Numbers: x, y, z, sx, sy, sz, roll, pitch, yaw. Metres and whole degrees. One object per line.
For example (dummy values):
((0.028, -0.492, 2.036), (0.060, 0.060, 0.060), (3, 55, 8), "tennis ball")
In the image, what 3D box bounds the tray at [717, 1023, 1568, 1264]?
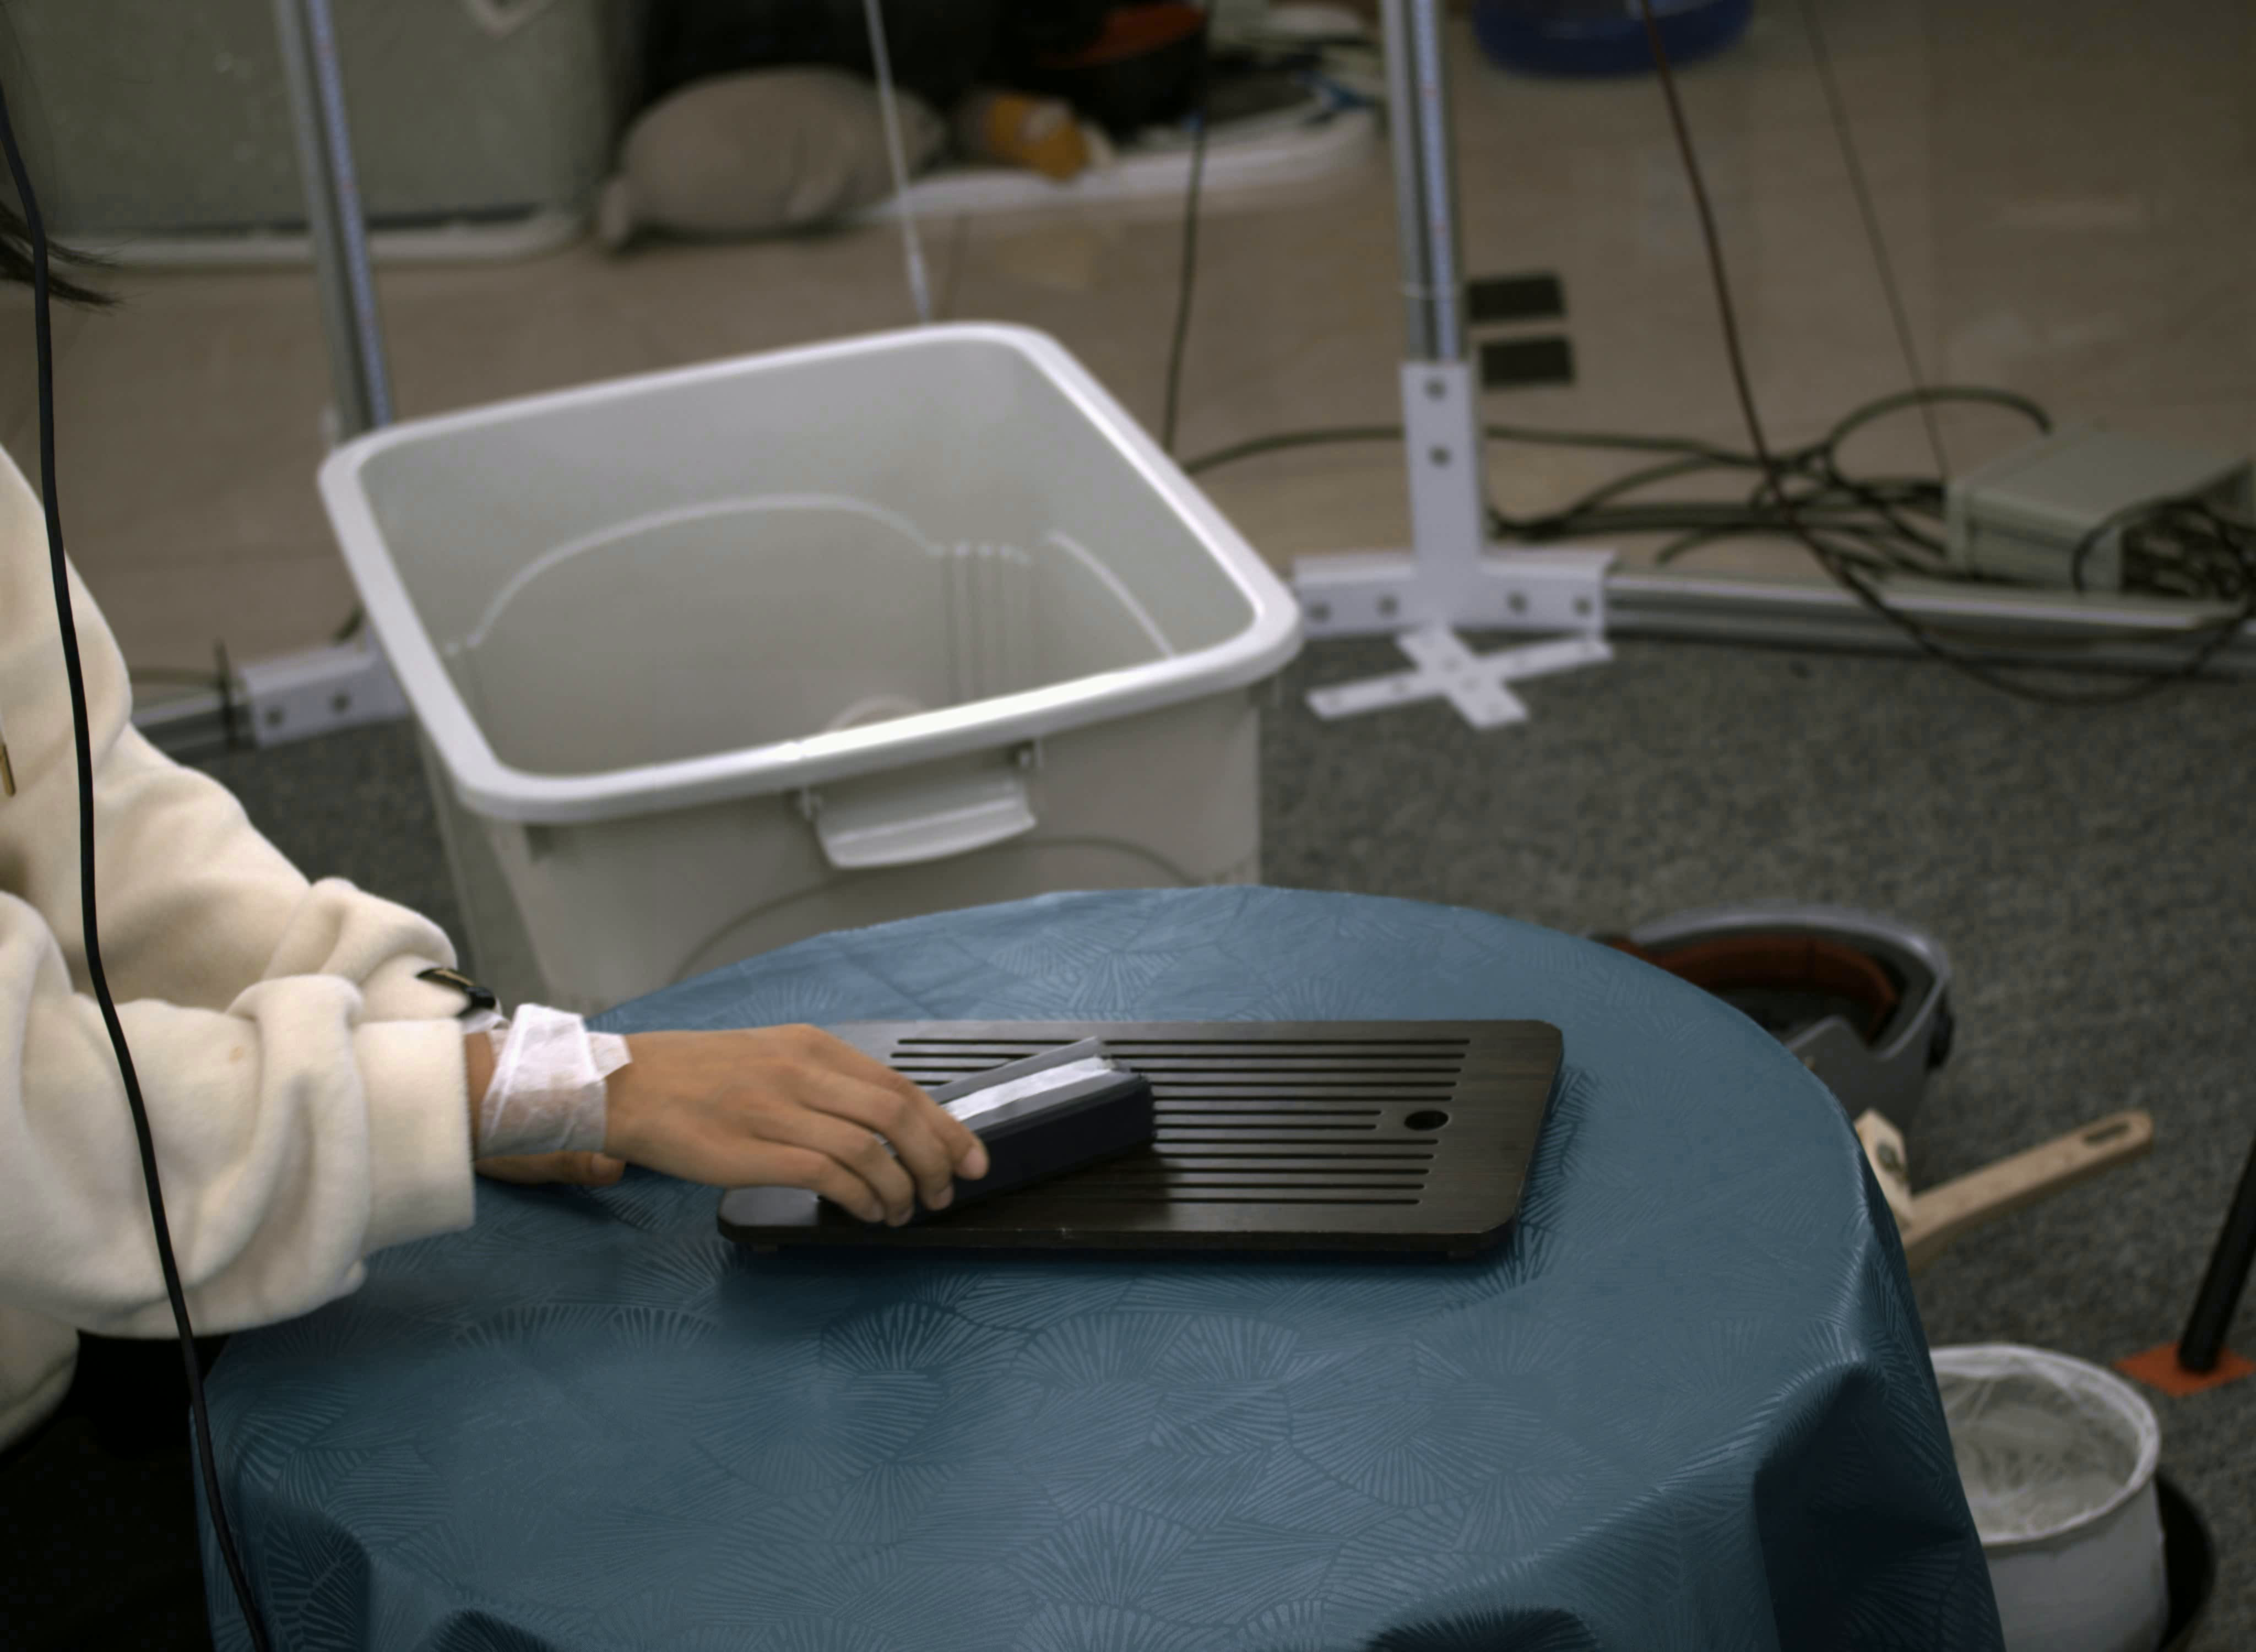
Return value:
((0.008, 0.121, 2.163), (0.305, 0.019, 0.167), (0, 26, 13), "tray")

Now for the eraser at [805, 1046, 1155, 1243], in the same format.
((-0.055, 0.119, 2.135), (0.125, 0.031, 0.053), (-18, 24, -20), "eraser")
